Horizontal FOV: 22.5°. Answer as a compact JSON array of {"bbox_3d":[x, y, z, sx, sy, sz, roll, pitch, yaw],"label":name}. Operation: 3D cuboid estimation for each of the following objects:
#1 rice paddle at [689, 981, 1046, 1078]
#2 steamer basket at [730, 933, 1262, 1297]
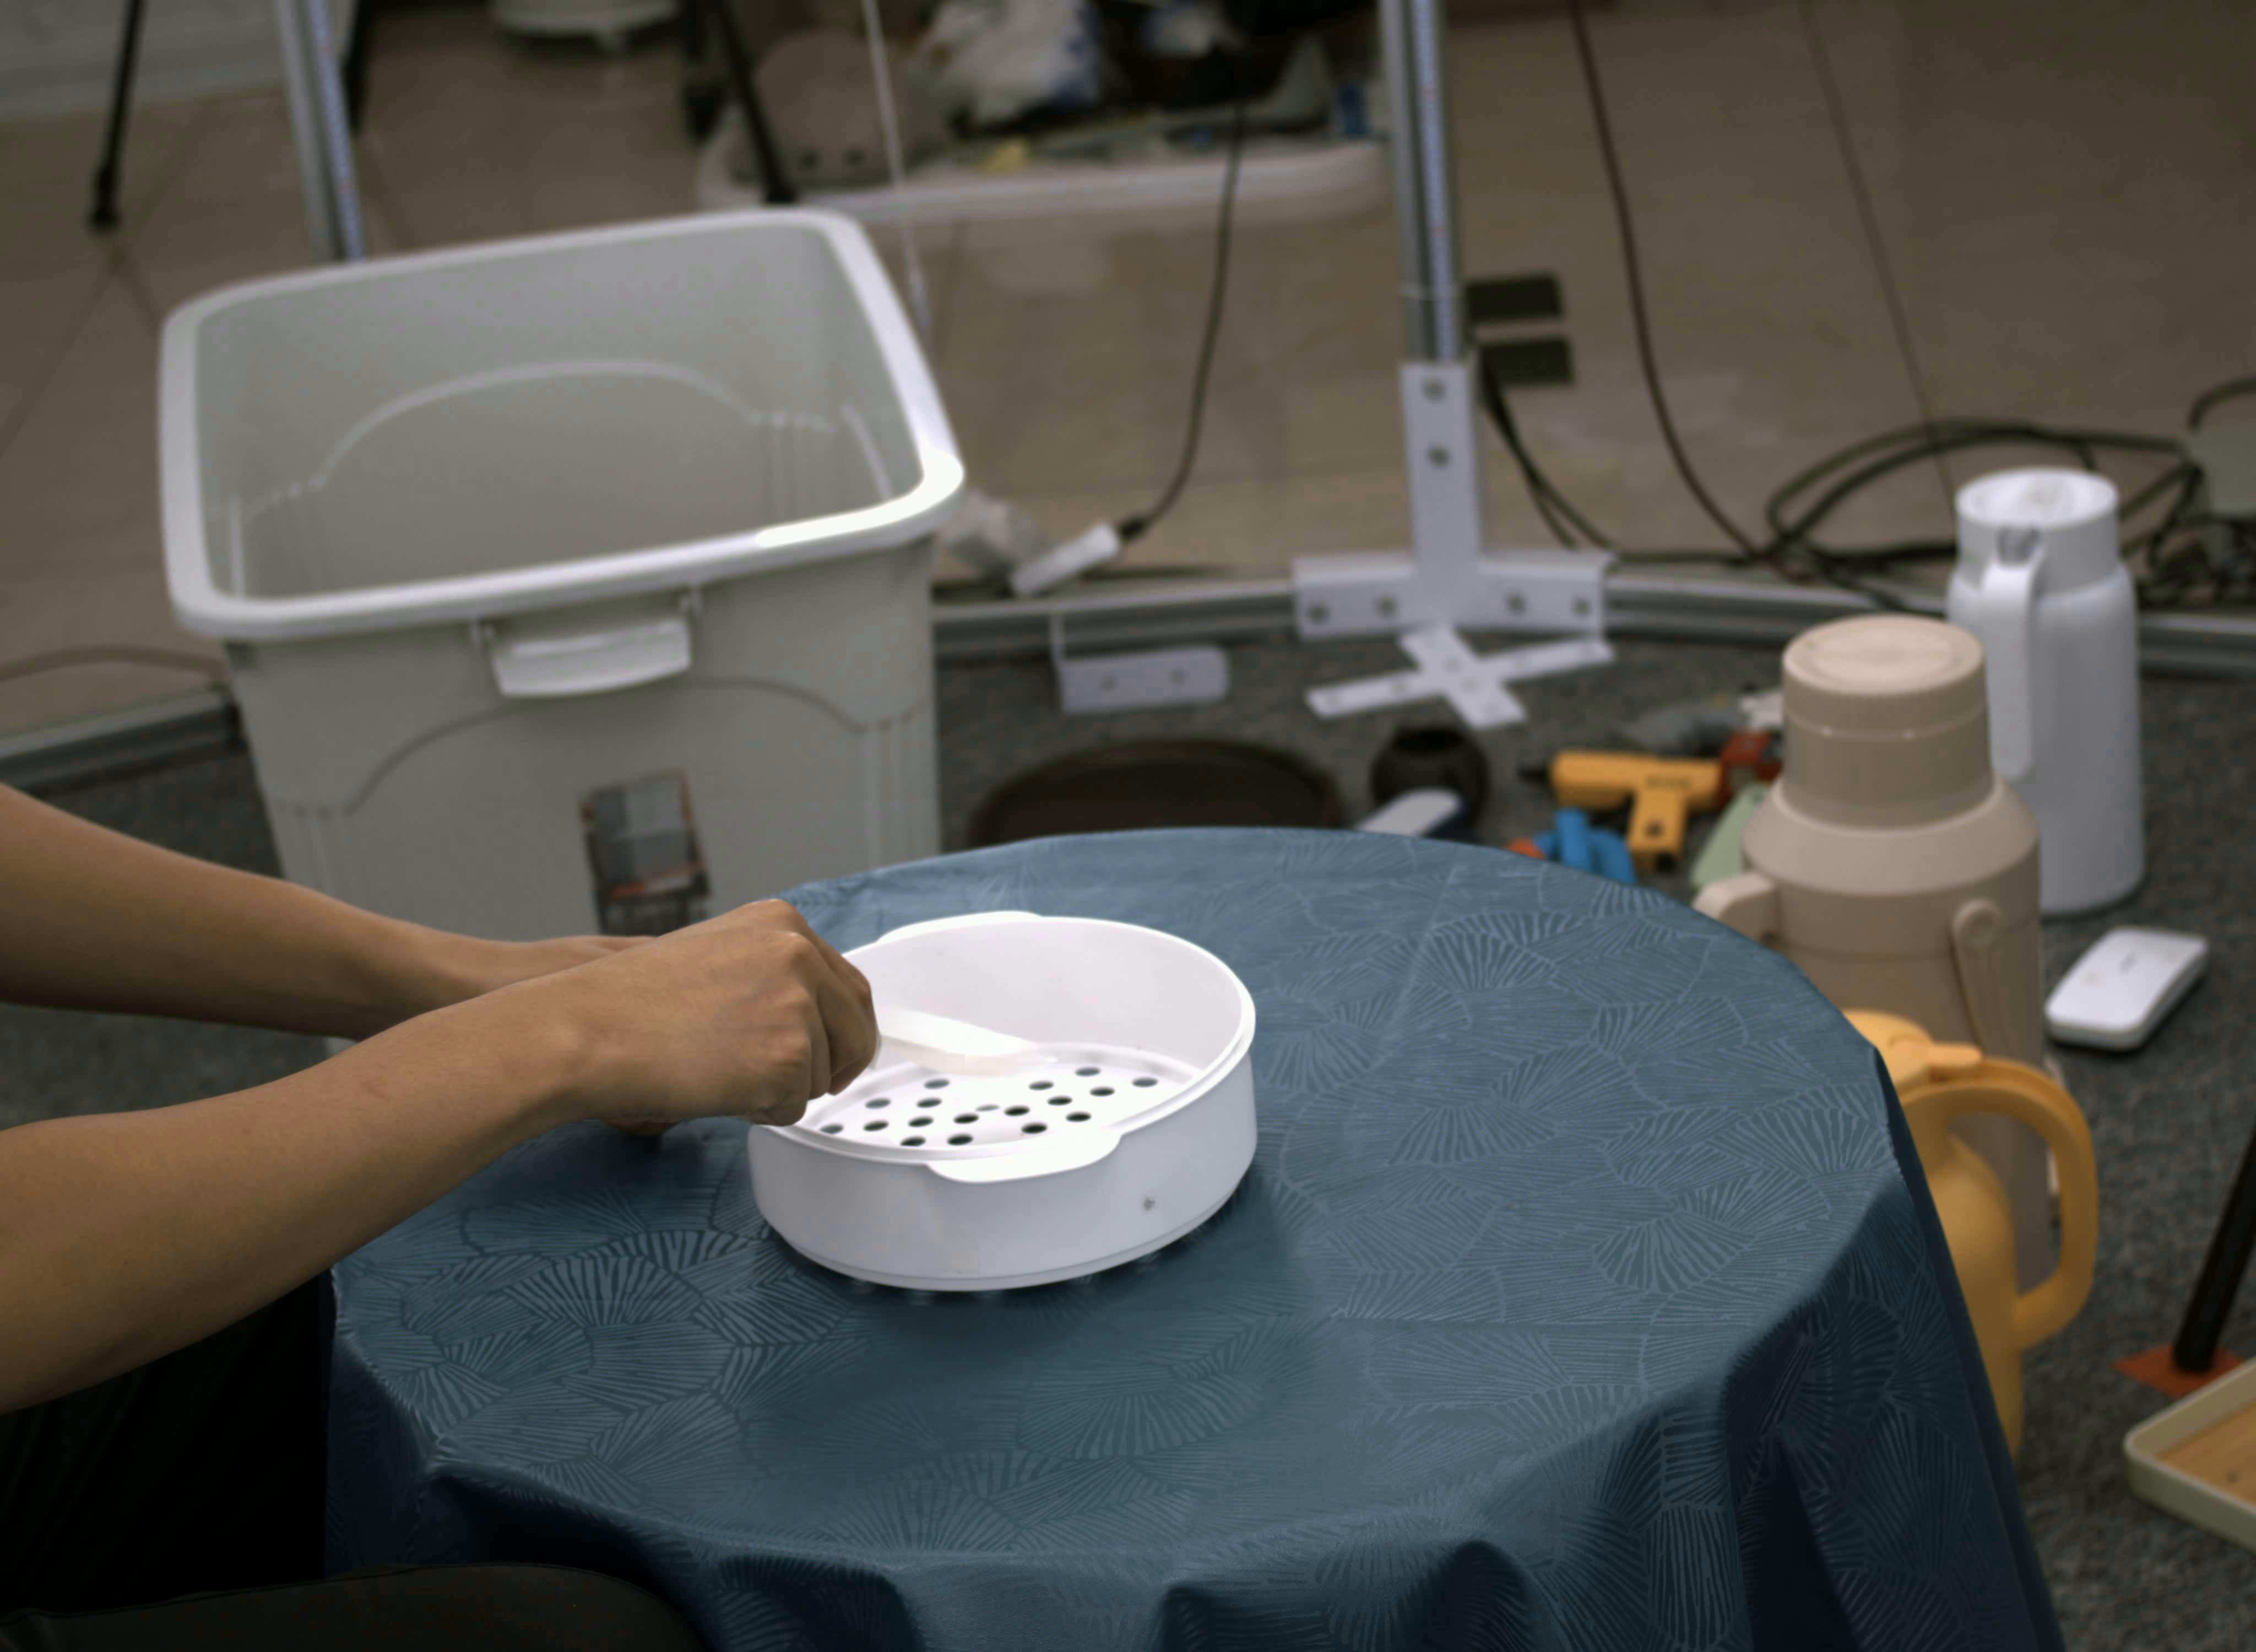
[{"bbox_3d":[-0.094,0.075,2.085,0.068,0.029,0.205,20,6,28],"label":"rice paddle"},{"bbox_3d":[-0.048,0.110,2.149,0.201,0.070,0.227,-8,22,-5],"label":"steamer basket"}]
